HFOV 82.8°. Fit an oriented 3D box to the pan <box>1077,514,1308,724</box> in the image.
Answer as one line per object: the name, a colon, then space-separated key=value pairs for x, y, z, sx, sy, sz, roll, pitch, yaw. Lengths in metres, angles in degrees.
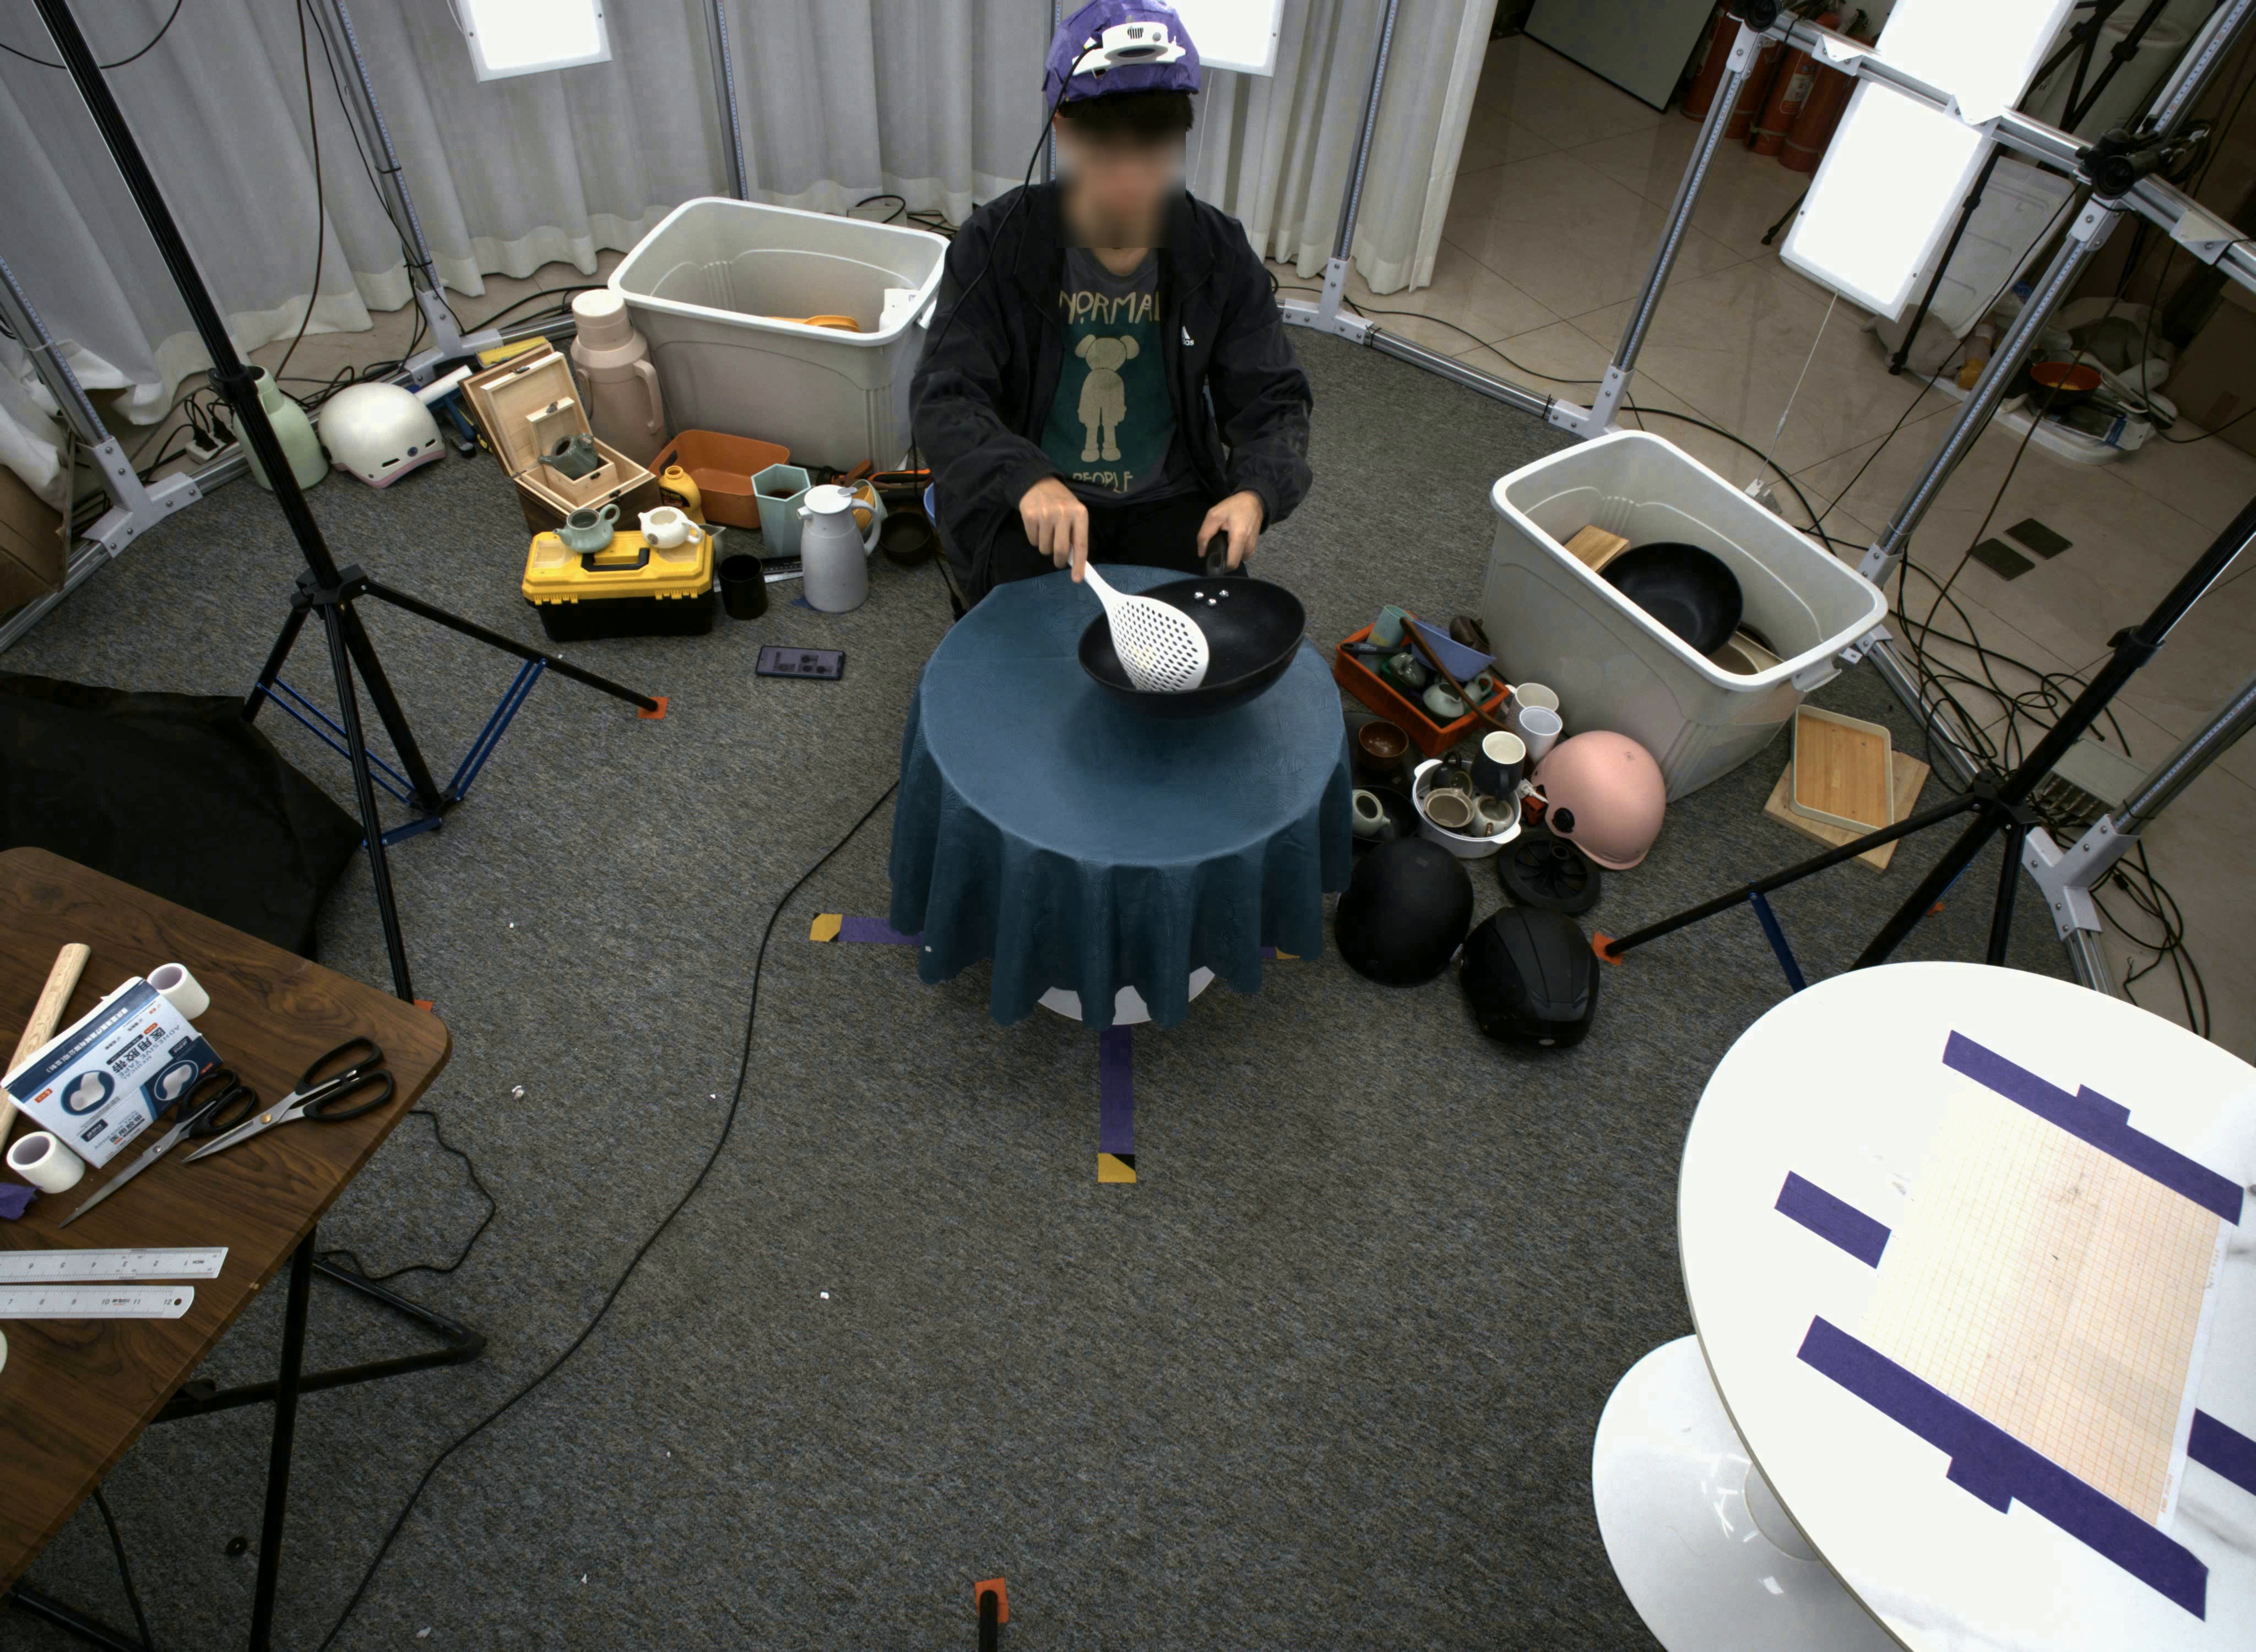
pan: x=0.106 y=-0.284 z=1.794 sx=0.311 sy=0.109 sz=0.487 roll=0 pitch=37 yaw=15

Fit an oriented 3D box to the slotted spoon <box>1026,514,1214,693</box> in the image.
slotted spoon: x=-0.022 y=-0.299 z=1.733 sx=0.050 sy=0.134 sz=0.353 roll=-13 pitch=56 yaw=-48
